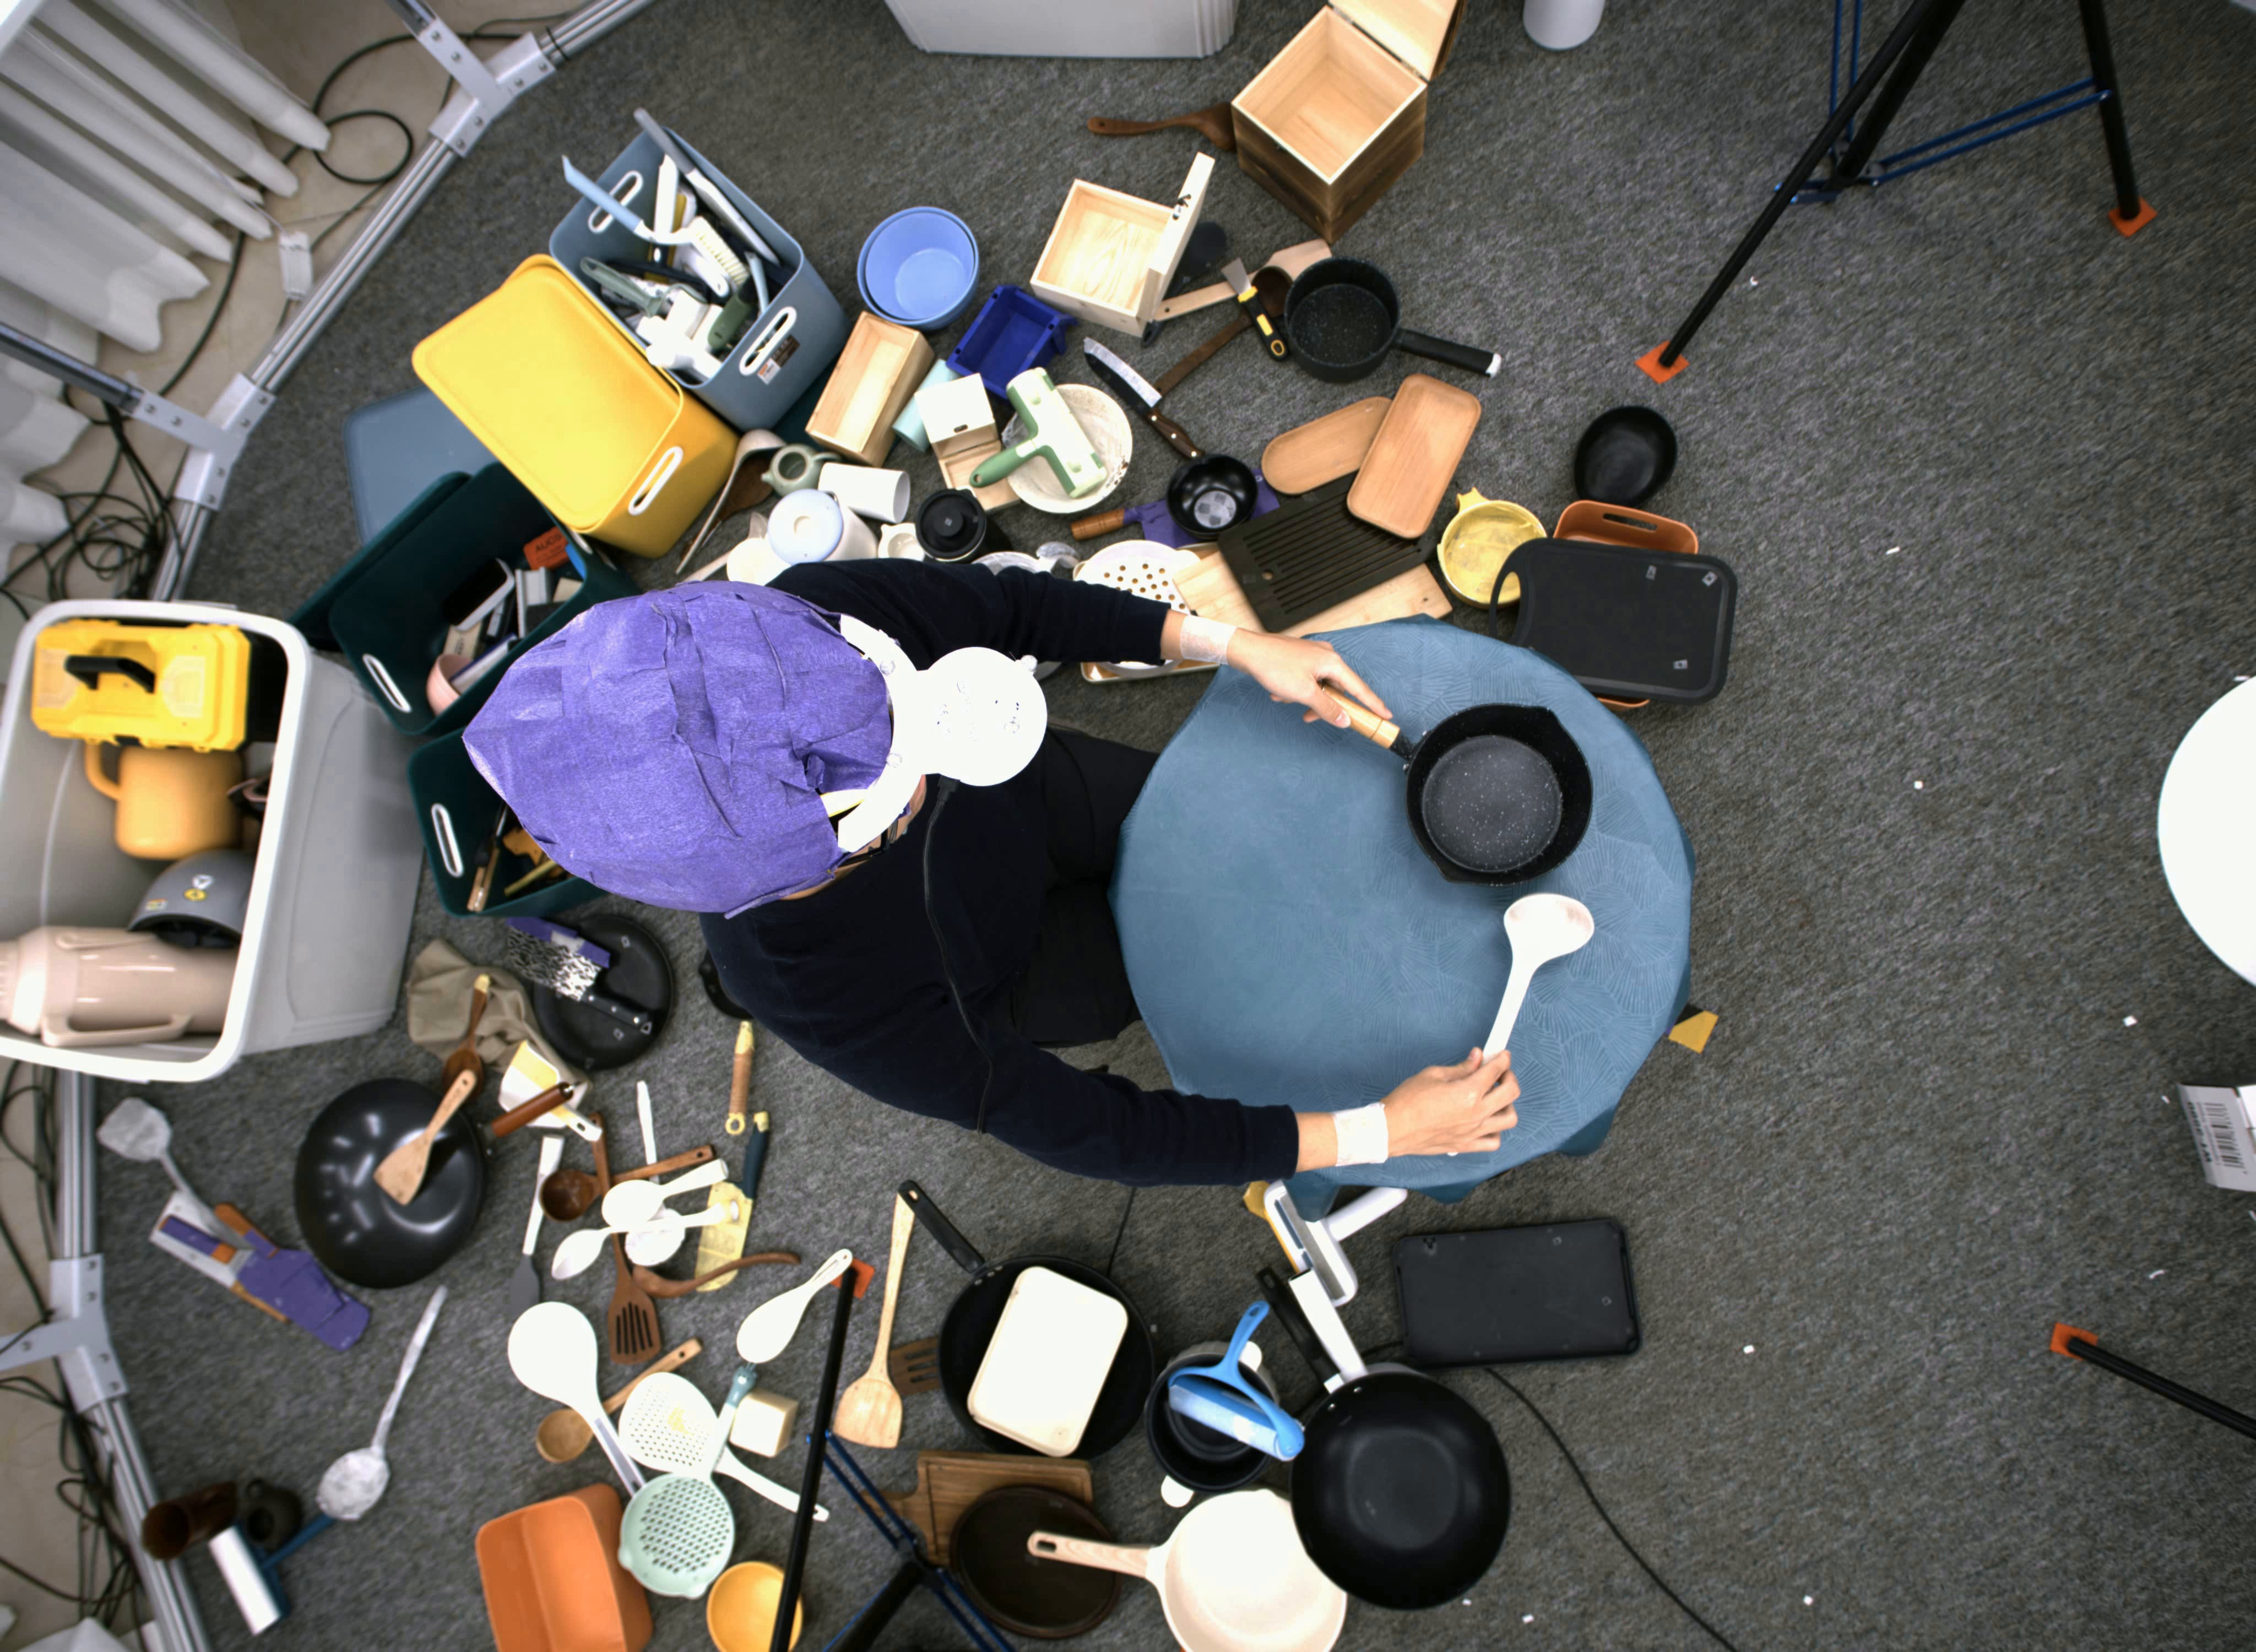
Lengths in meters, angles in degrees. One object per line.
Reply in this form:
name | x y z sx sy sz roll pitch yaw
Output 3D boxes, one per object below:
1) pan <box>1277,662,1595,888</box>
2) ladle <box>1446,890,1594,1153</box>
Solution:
pan | 0.305 -0.068 1.406 0.342 0.108 0.208 29 93 9
ladle | 0.376 0.192 1.345 0.089 0.069 0.273 22 85 -15
